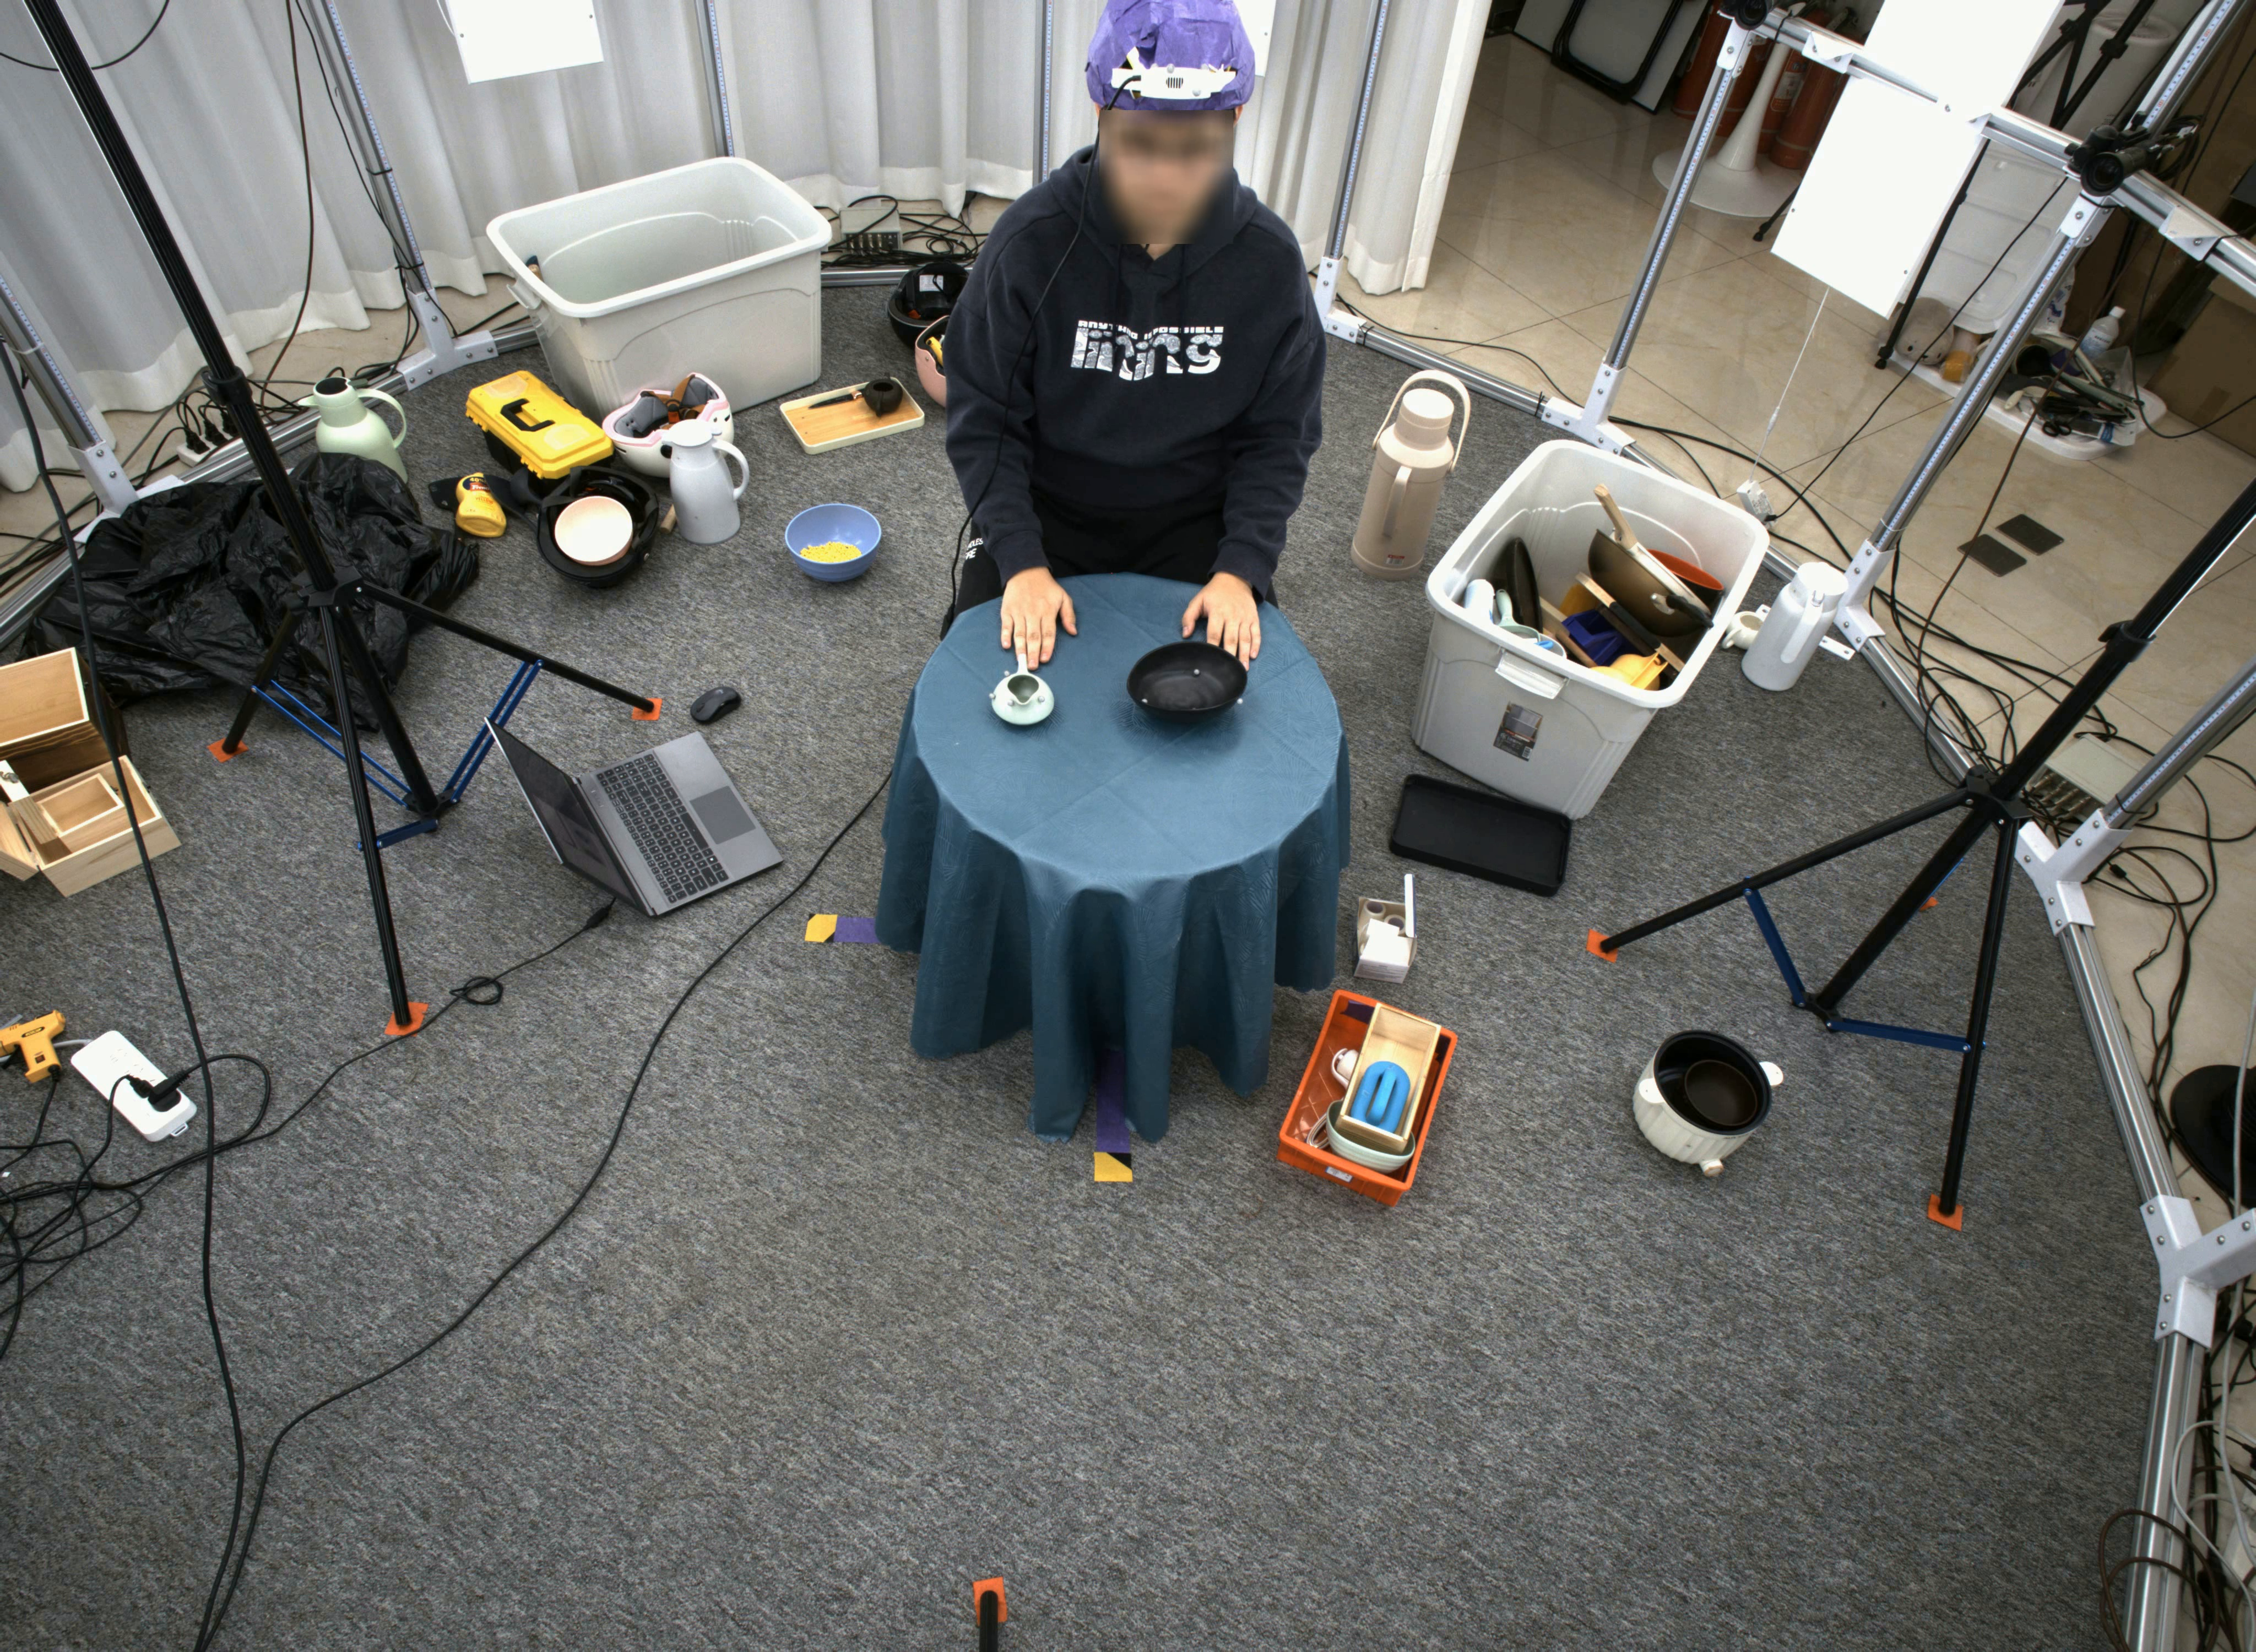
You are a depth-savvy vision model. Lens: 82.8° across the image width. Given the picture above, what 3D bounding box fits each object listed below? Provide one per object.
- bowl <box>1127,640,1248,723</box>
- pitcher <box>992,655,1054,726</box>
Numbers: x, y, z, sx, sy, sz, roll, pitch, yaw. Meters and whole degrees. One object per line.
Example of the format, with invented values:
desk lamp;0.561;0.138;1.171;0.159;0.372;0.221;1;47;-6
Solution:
bowl;0.083;-0.189;1.795;0.170;0.065;0.141;-10;50;-11
pitcher;-0.146;-0.187;1.780;0.086;0.059;0.111;0;47;-6
